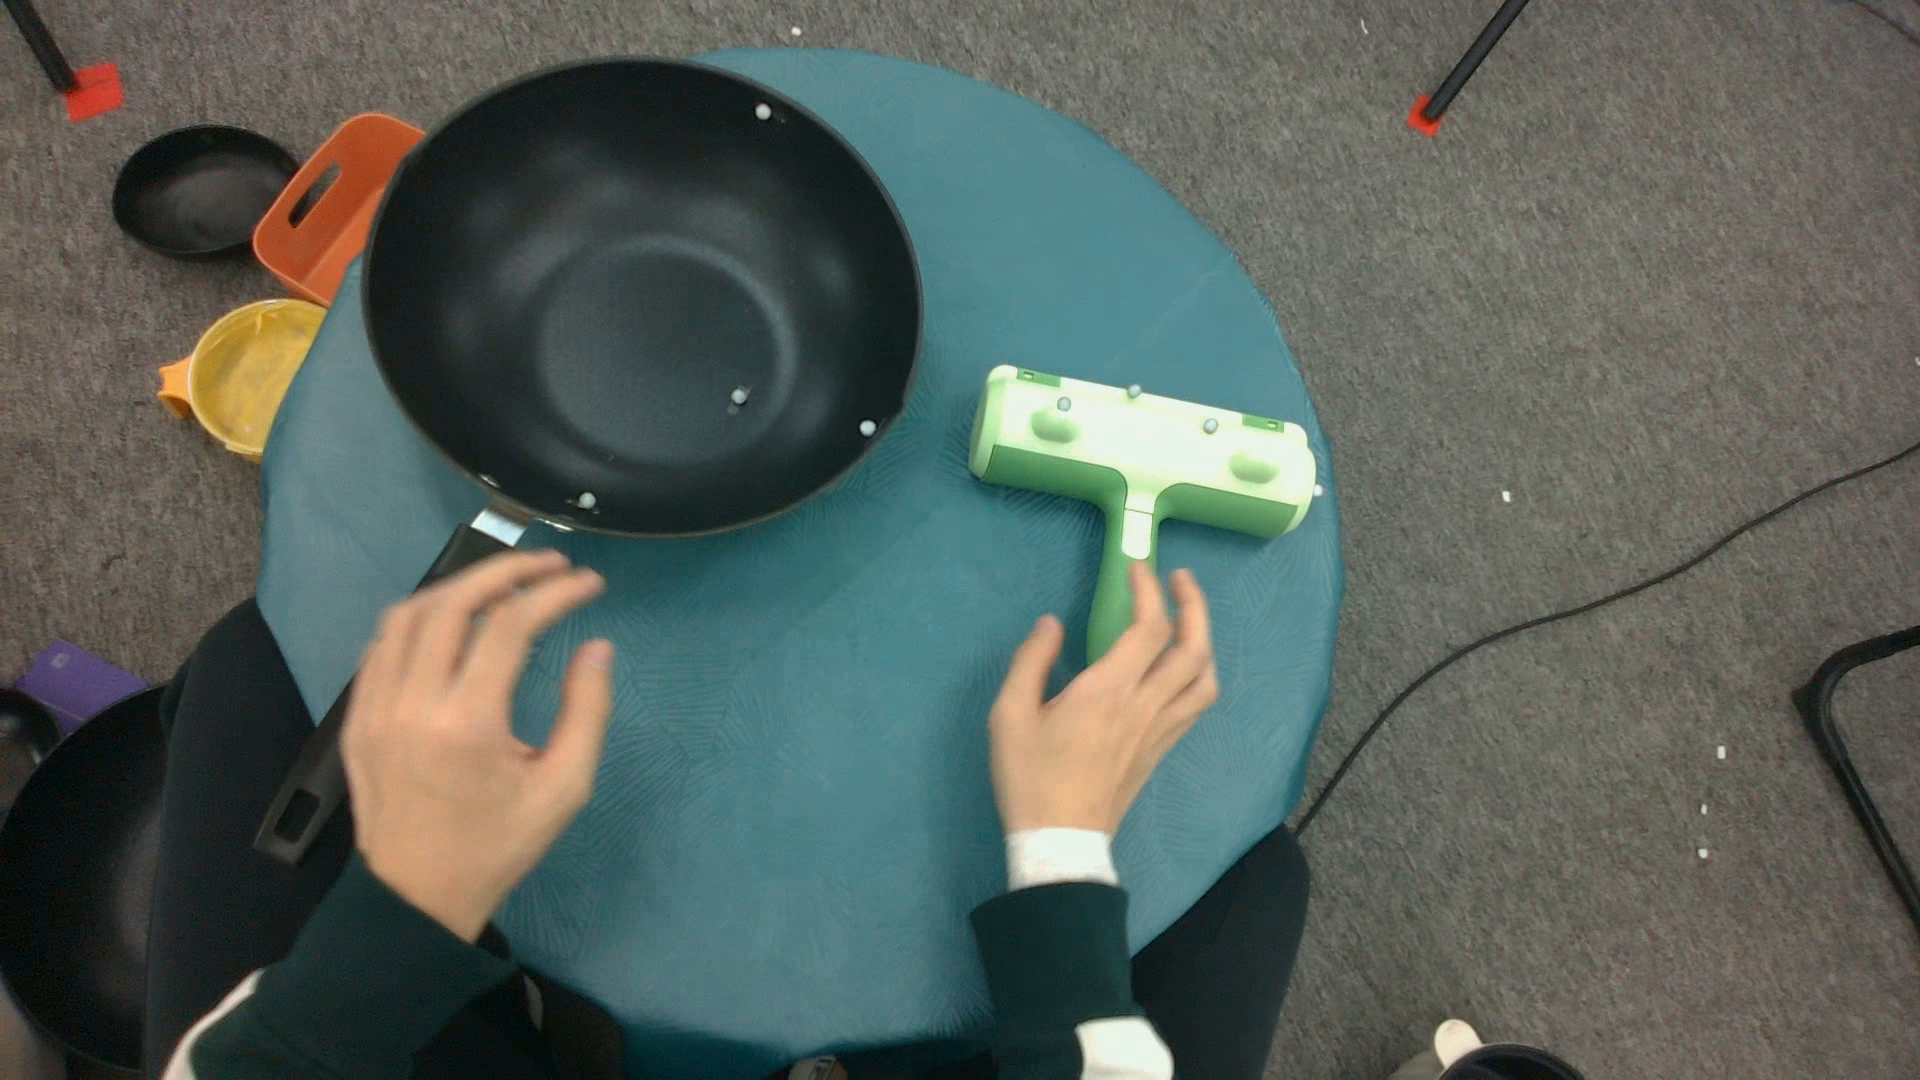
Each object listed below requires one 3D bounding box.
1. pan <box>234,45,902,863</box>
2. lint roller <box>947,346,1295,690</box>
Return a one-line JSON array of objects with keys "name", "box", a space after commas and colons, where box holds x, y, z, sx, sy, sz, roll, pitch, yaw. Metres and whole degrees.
[{"name": "pan", "box": [-0.212, -0.047, 0.711, 0.288, 0.086, 0.465, 25, 69, -2]}, {"name": "lint roller", "box": [0.090, -0.014, 0.763, 0.199, 0.082, 0.184, 9, 64, -8]}]
